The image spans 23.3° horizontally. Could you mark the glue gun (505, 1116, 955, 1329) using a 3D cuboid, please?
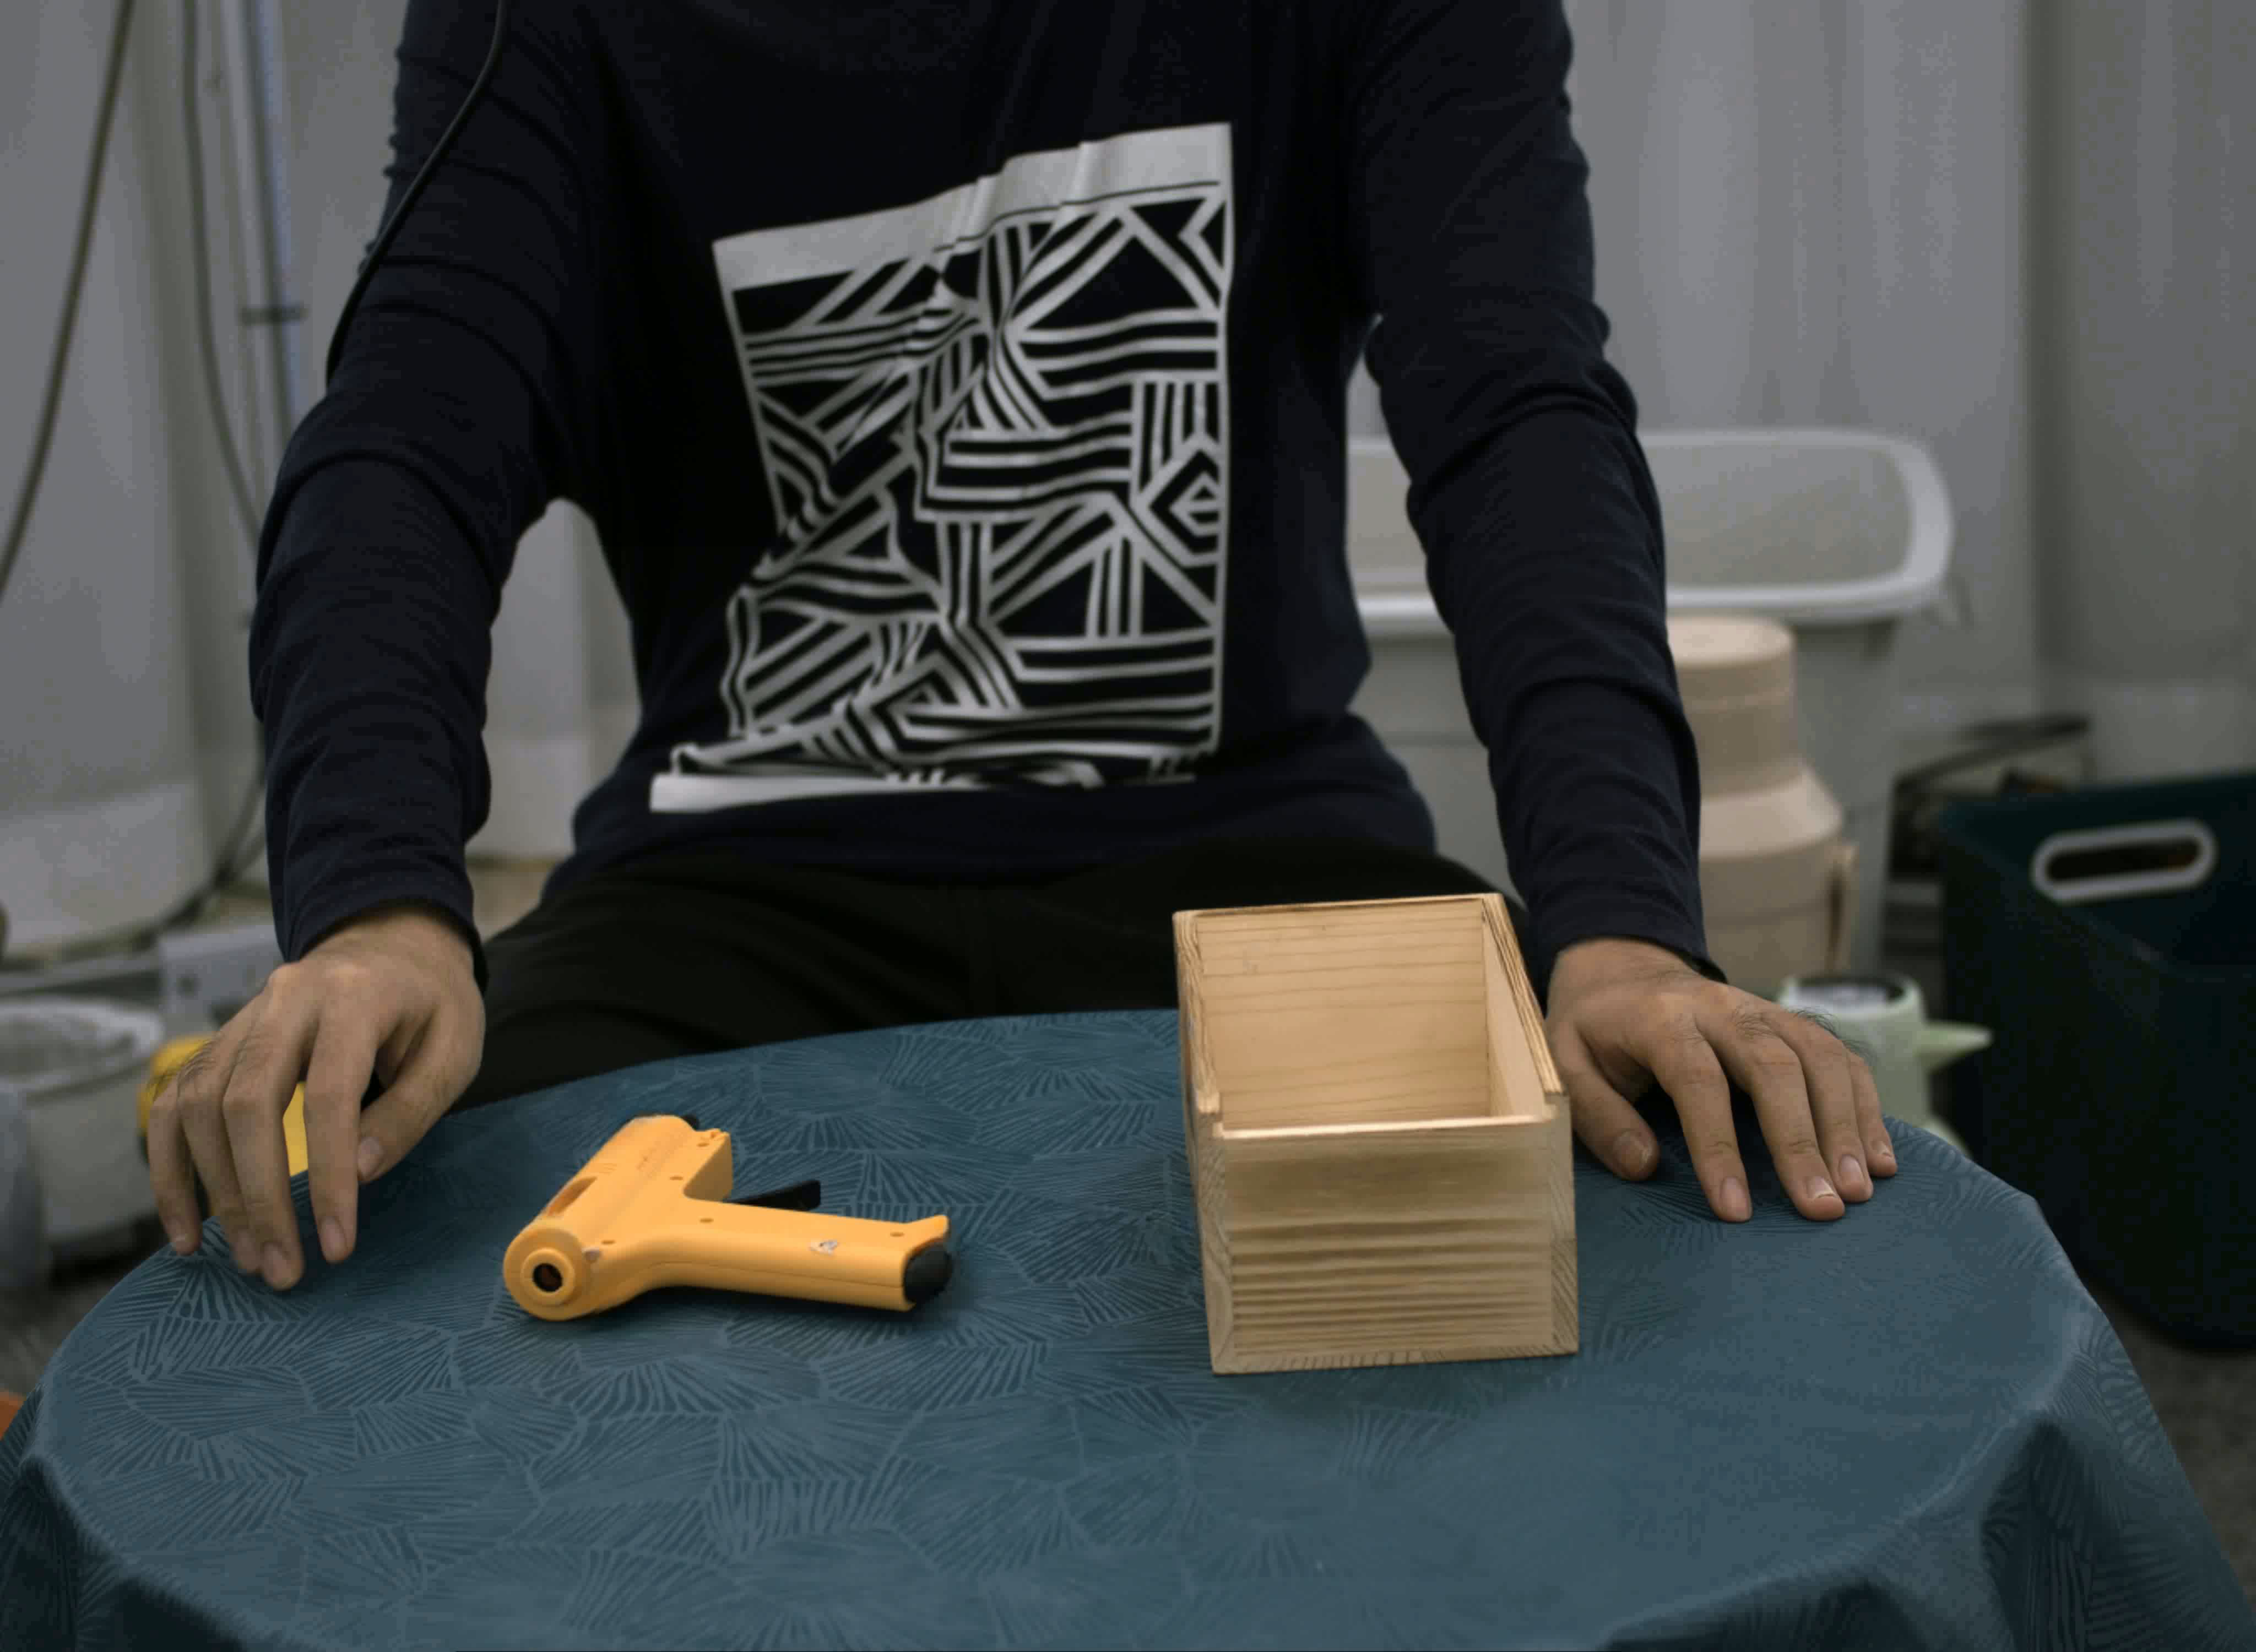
[{"bbox_3d":[-0.110,0.116,1.682,0.133,0.031,0.152,0,16,8],"label":"glue gun"}]

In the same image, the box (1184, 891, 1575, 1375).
[{"bbox_3d":[0.073,0.089,1.646,0.107,0.080,0.213,-3,15,0],"label":"box"}]
